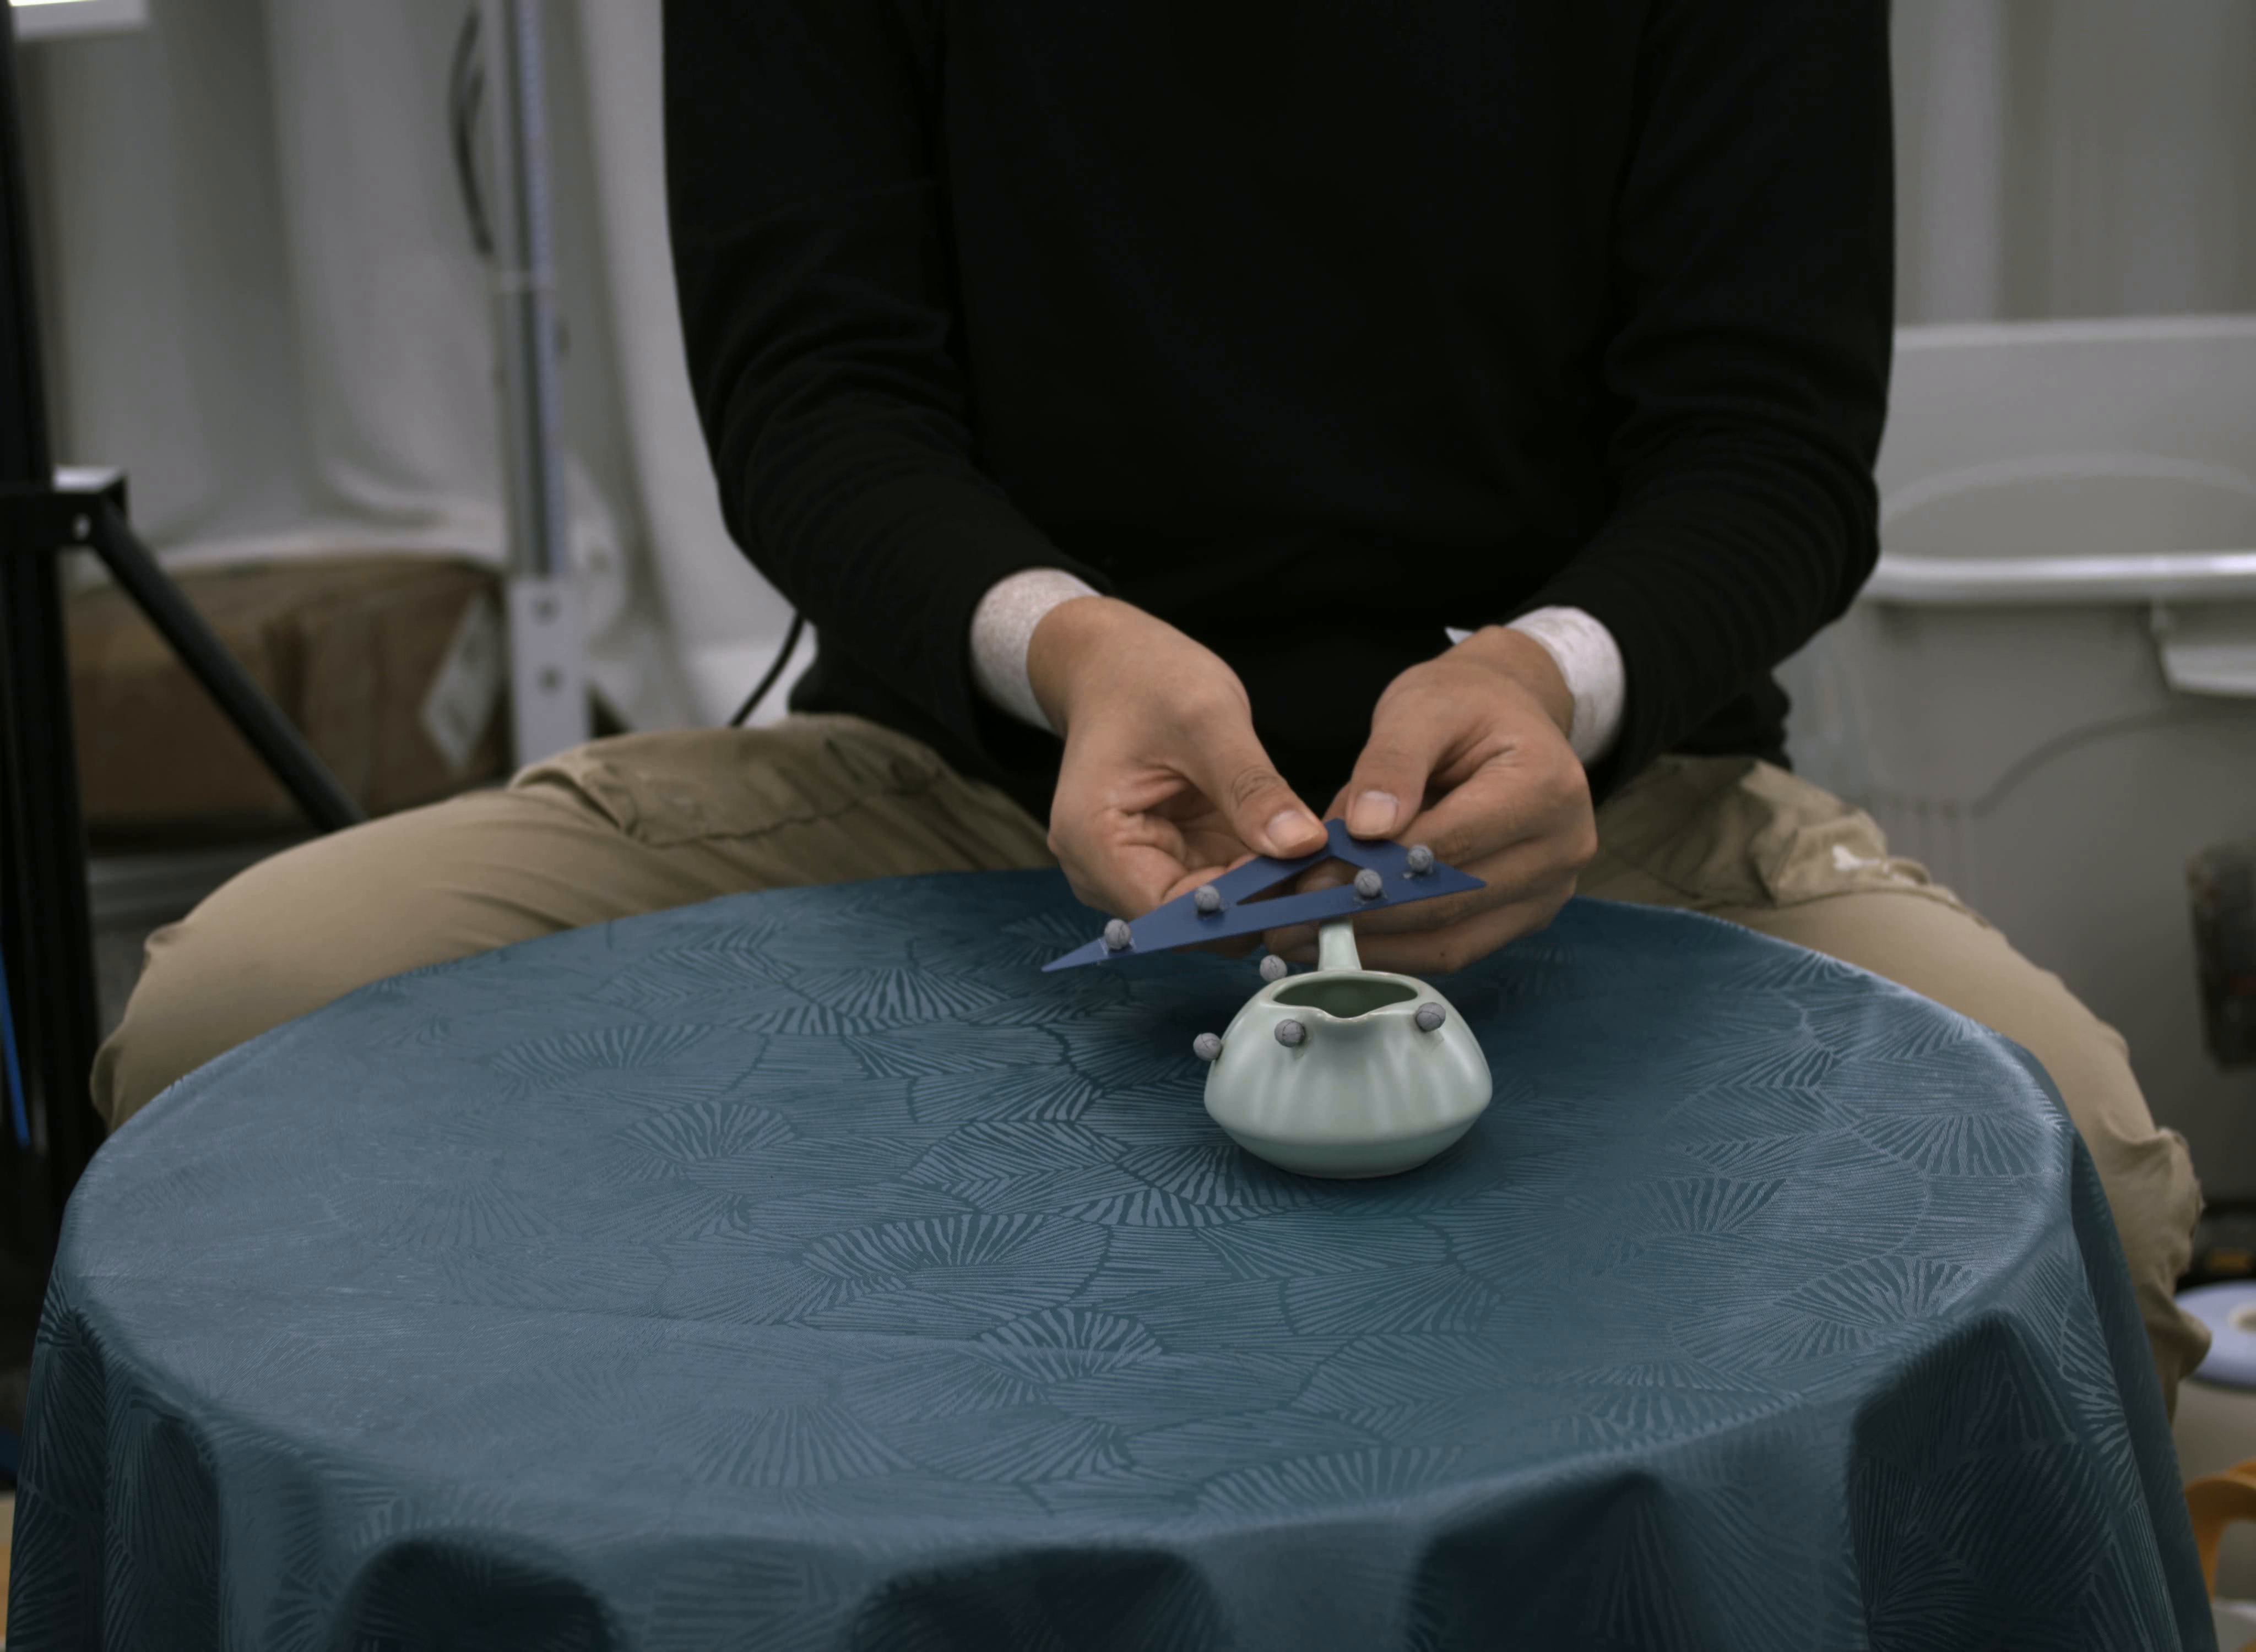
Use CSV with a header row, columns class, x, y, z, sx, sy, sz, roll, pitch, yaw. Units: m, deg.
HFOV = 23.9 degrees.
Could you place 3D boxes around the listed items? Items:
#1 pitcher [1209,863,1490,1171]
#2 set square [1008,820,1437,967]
class,x,y,z,sx,sy,sz,roll,pitch,yaw
pitcher,0.067,0.059,1.593,0.087,0.060,0.108,-7,31,21
set square,0.026,0.018,1.635,0.131,0.006,0.062,-10,29,0
